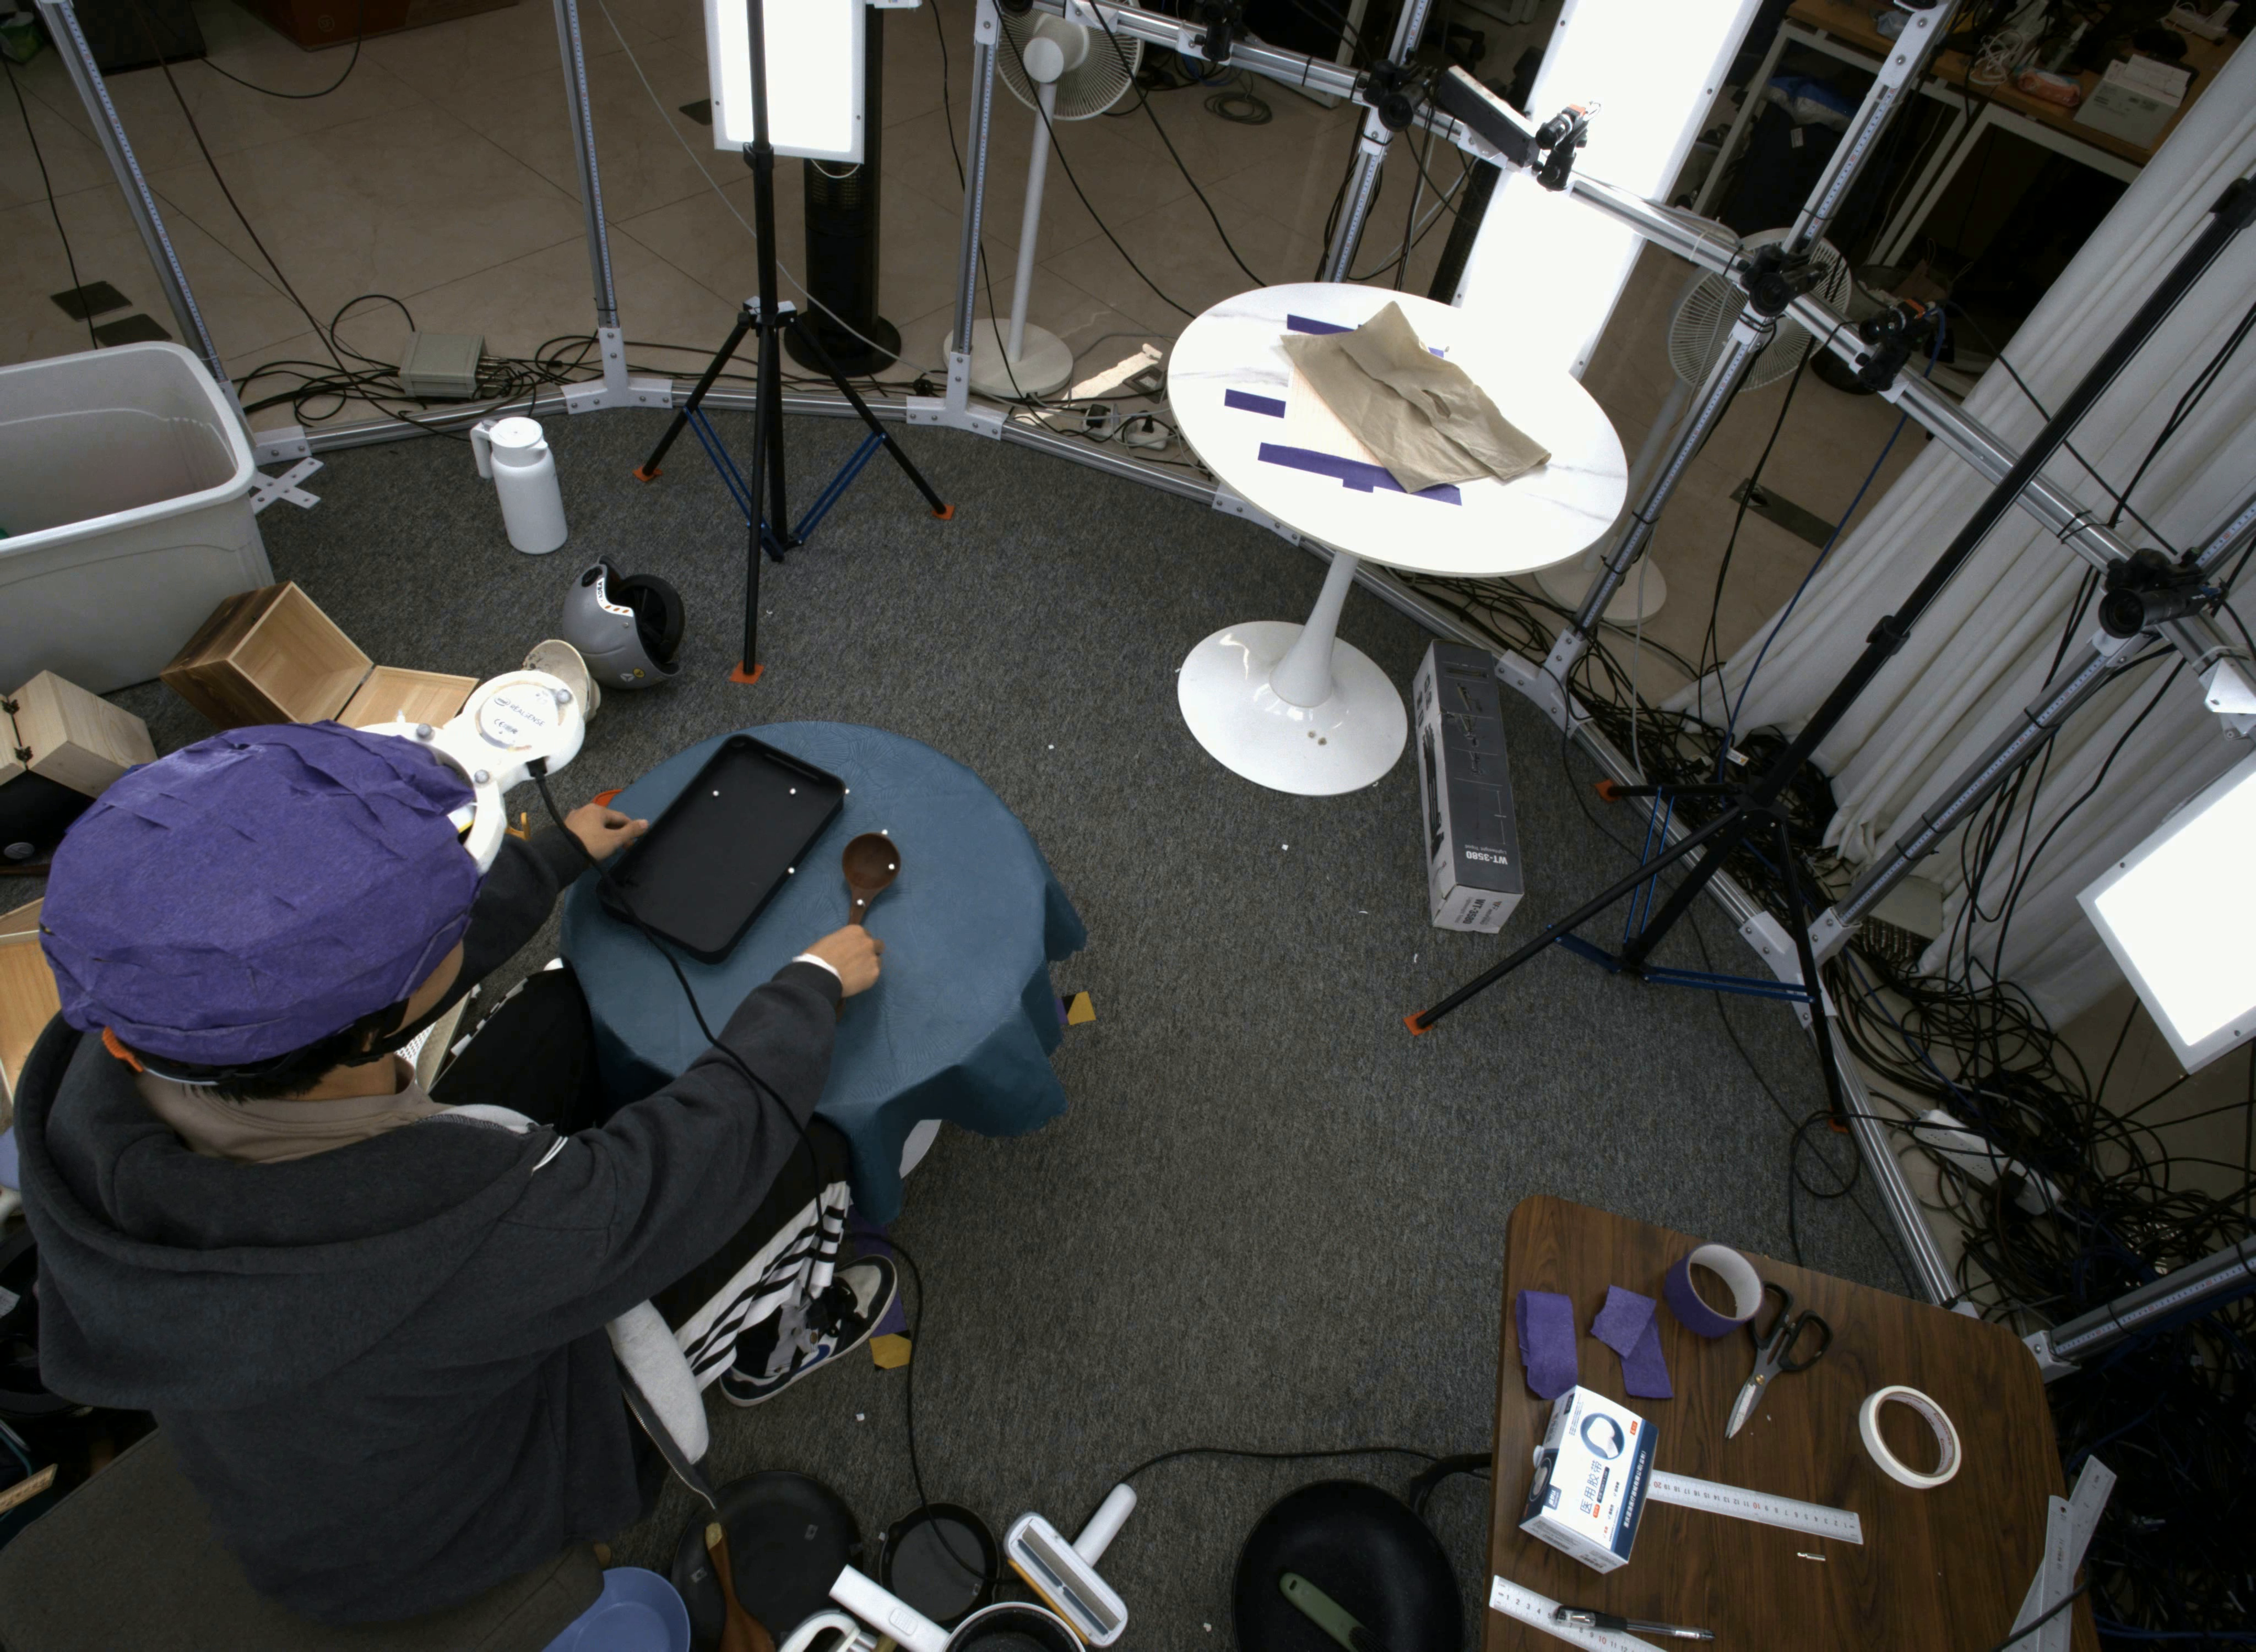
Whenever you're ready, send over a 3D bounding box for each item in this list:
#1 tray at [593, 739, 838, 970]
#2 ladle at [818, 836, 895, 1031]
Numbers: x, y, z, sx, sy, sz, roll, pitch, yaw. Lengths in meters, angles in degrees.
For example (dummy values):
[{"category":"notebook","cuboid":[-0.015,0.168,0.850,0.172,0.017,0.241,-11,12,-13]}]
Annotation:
[{"category":"tray","cuboid":[-0.524,0.028,1.655,0.182,0.038,0.315,25,50,5]},{"category":"ladle","cuboid":[-0.347,0.125,1.614,0.076,0.066,0.256,11,52,-5]}]
